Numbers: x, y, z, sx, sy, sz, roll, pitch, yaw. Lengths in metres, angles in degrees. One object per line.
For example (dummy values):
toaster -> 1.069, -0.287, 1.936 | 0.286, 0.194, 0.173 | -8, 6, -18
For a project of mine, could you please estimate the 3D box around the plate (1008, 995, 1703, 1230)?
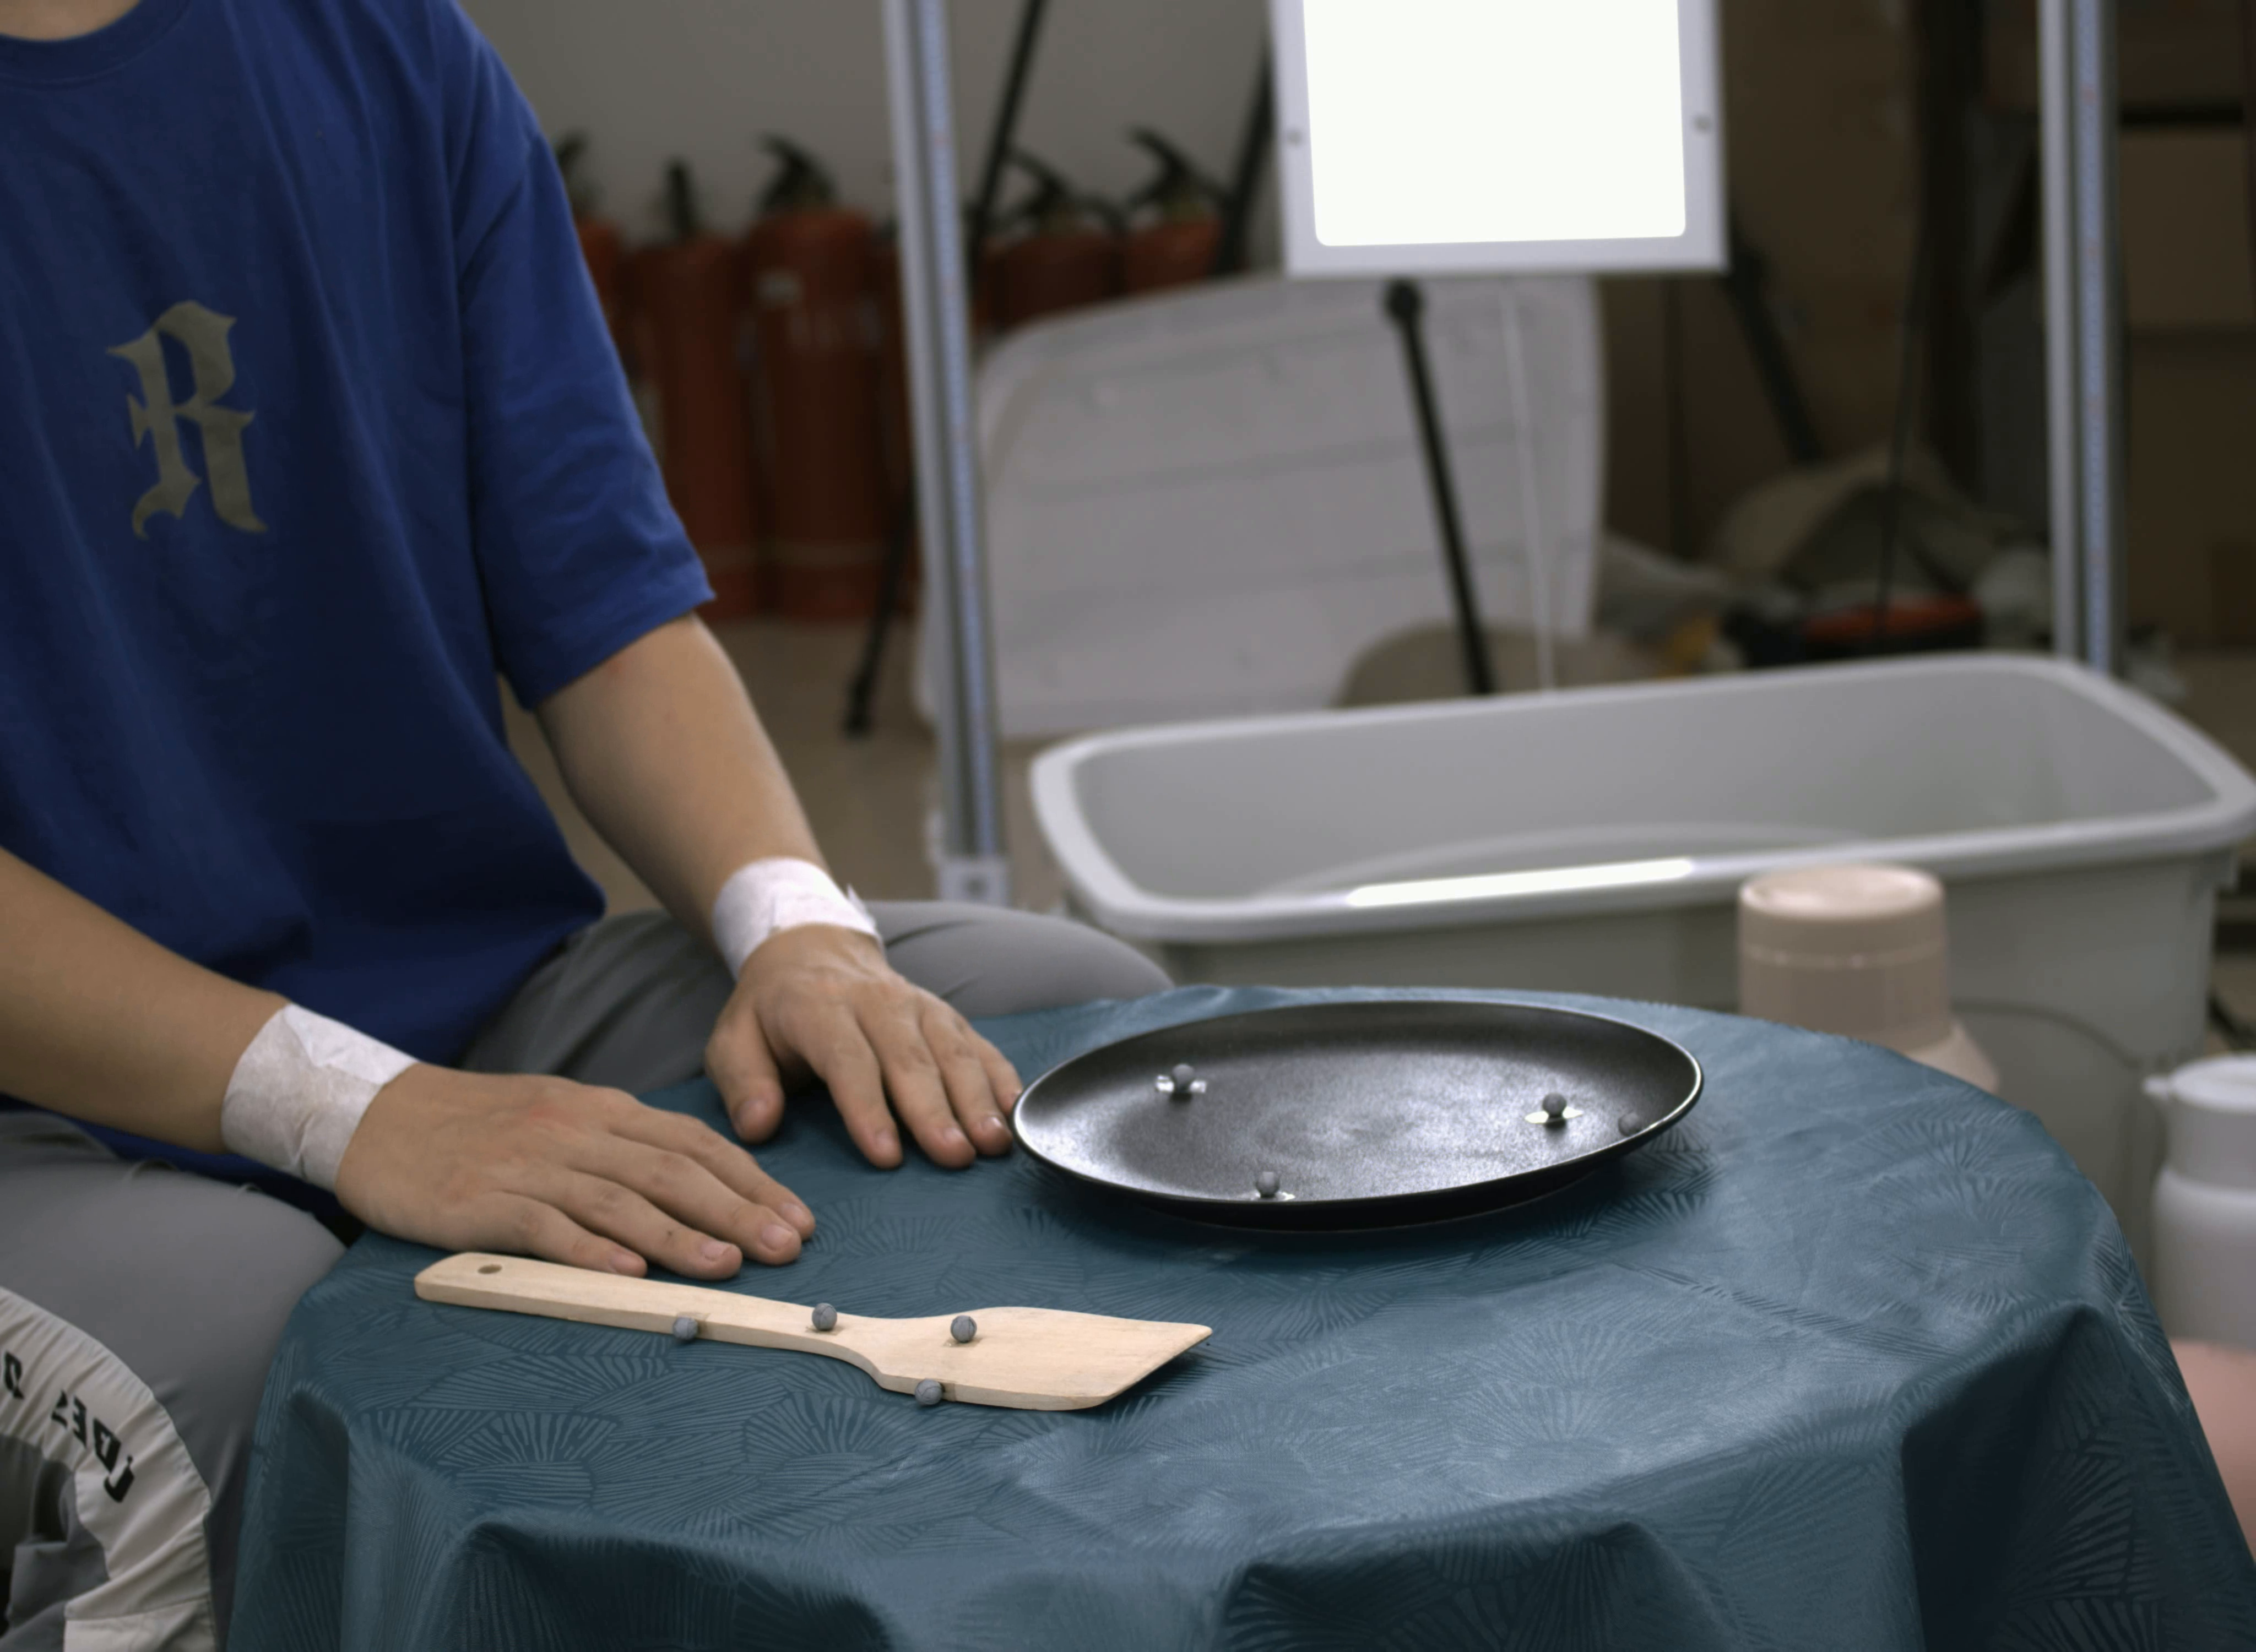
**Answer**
plate -> 0.080, 0.102, 1.917 | 0.244, 0.023, 0.244 | -5, 14, 0

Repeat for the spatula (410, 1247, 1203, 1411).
spatula -> -0.115, 0.160, 1.784 | 0.299, 0.011, 0.070 | 5, 18, 34
